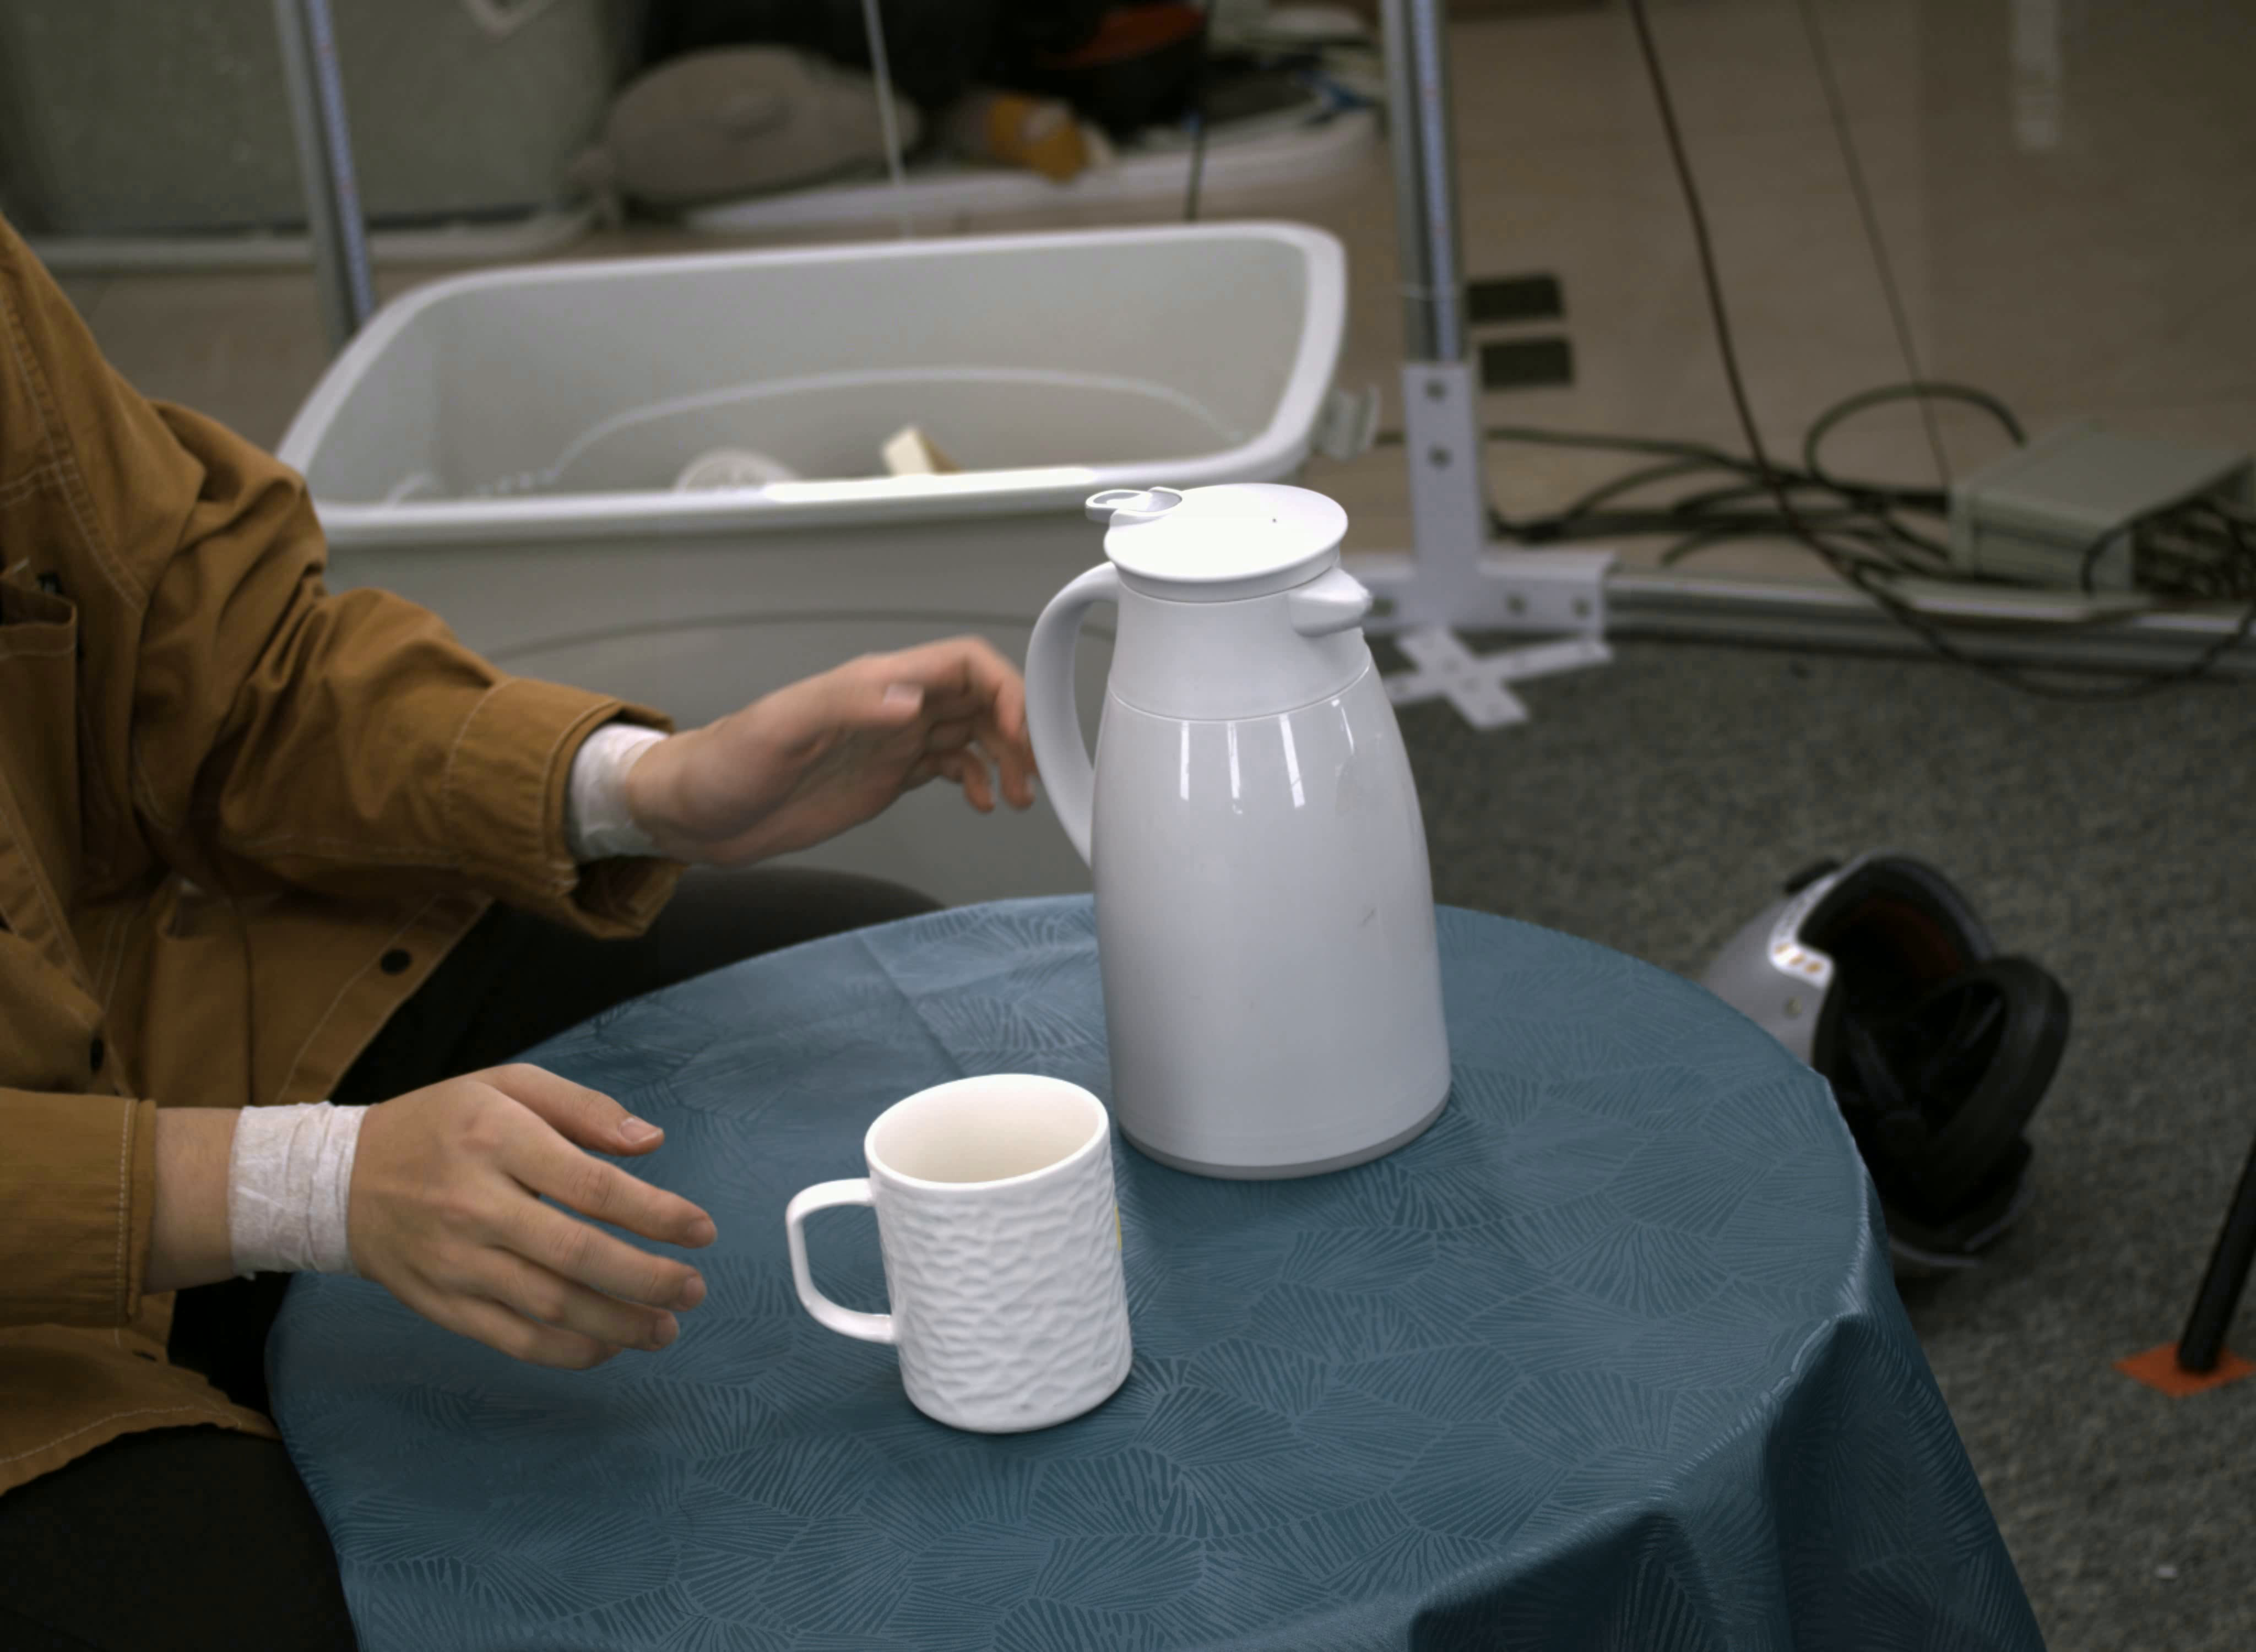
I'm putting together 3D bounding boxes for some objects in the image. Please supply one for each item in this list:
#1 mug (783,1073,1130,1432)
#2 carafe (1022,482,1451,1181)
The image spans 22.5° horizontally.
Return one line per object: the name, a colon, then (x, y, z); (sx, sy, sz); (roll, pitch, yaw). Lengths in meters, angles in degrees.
mug: (-0.061, 0.153, 2.010); (0.118, 0.103, 0.083); (-6, 26, 0)
carafe: (0.032, -0.008, 2.159); (0.166, 0.252, 0.131); (14, 33, 36)
